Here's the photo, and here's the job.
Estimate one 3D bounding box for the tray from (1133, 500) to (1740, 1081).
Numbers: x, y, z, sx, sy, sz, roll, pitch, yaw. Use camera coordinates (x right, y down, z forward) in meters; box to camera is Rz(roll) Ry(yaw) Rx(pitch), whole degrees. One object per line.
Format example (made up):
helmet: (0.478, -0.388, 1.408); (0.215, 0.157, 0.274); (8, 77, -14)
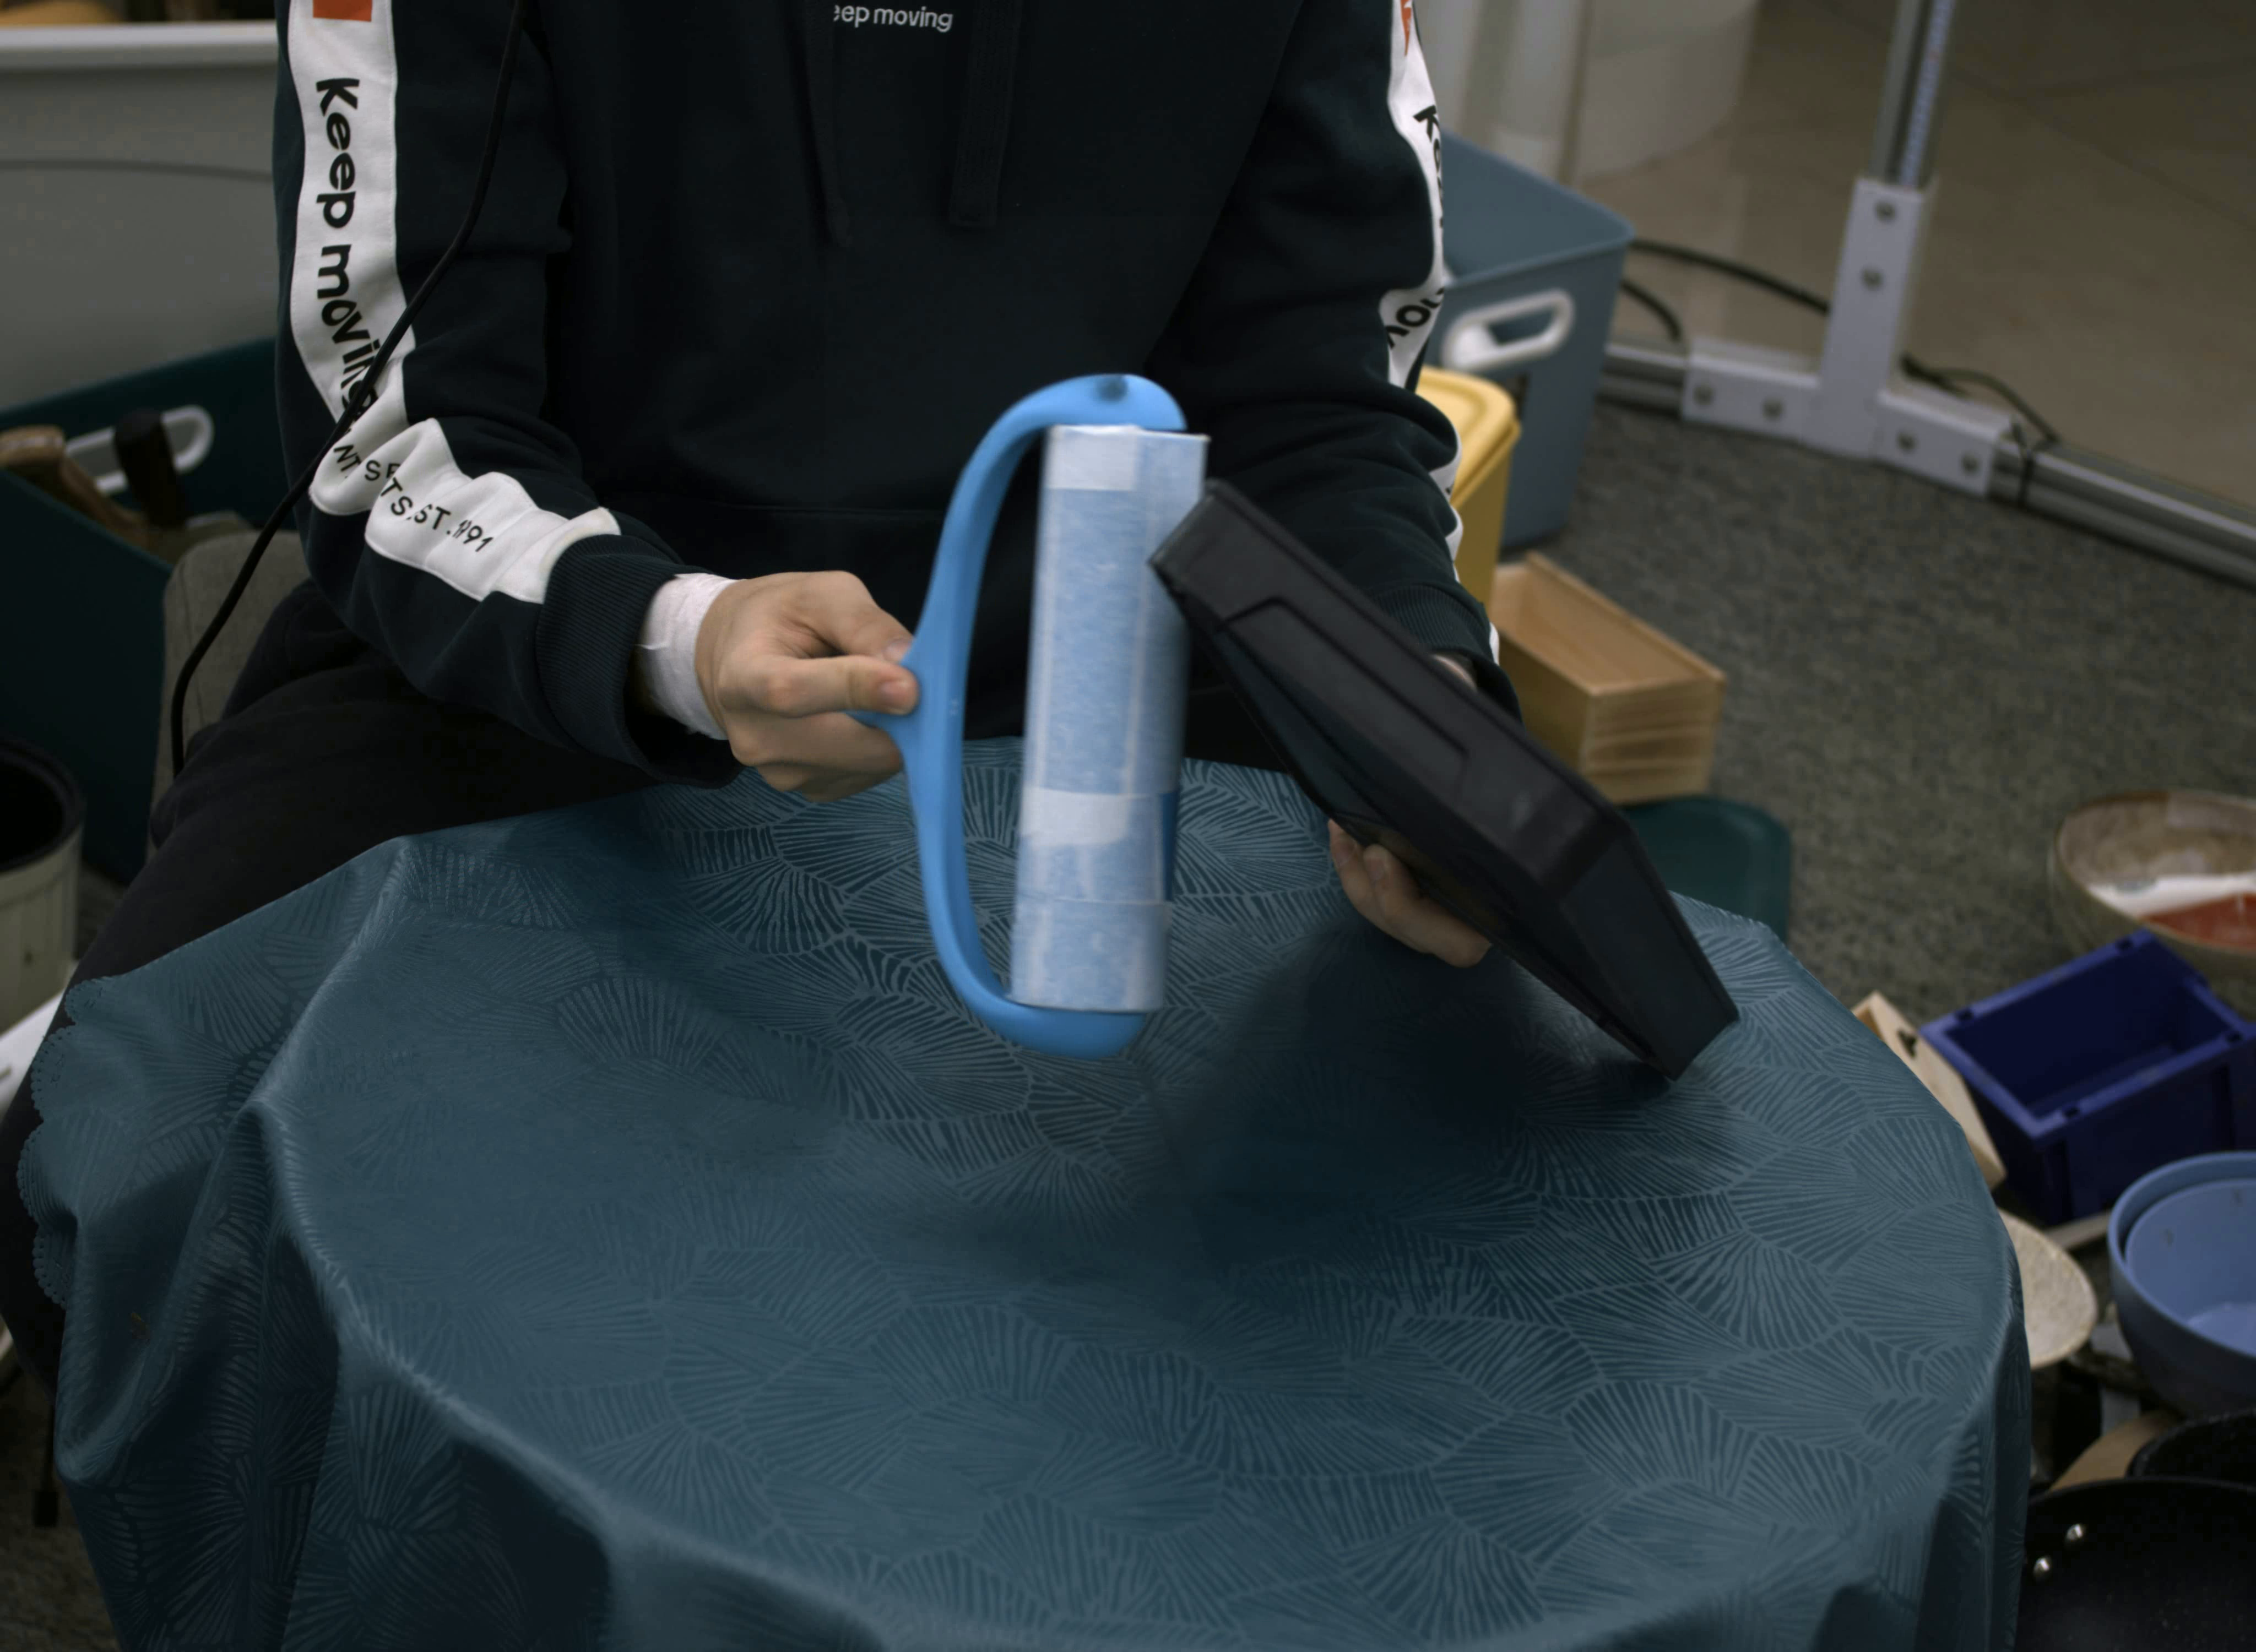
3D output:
tray: (0.109, -0.005, 1.799); (0.185, 0.037, 0.316); (39, -2, 19)

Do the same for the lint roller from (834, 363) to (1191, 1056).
lint roller: (-0.054, -0.040, 1.801); (0.181, 0.229, 0.067); (2, 2, 44)
